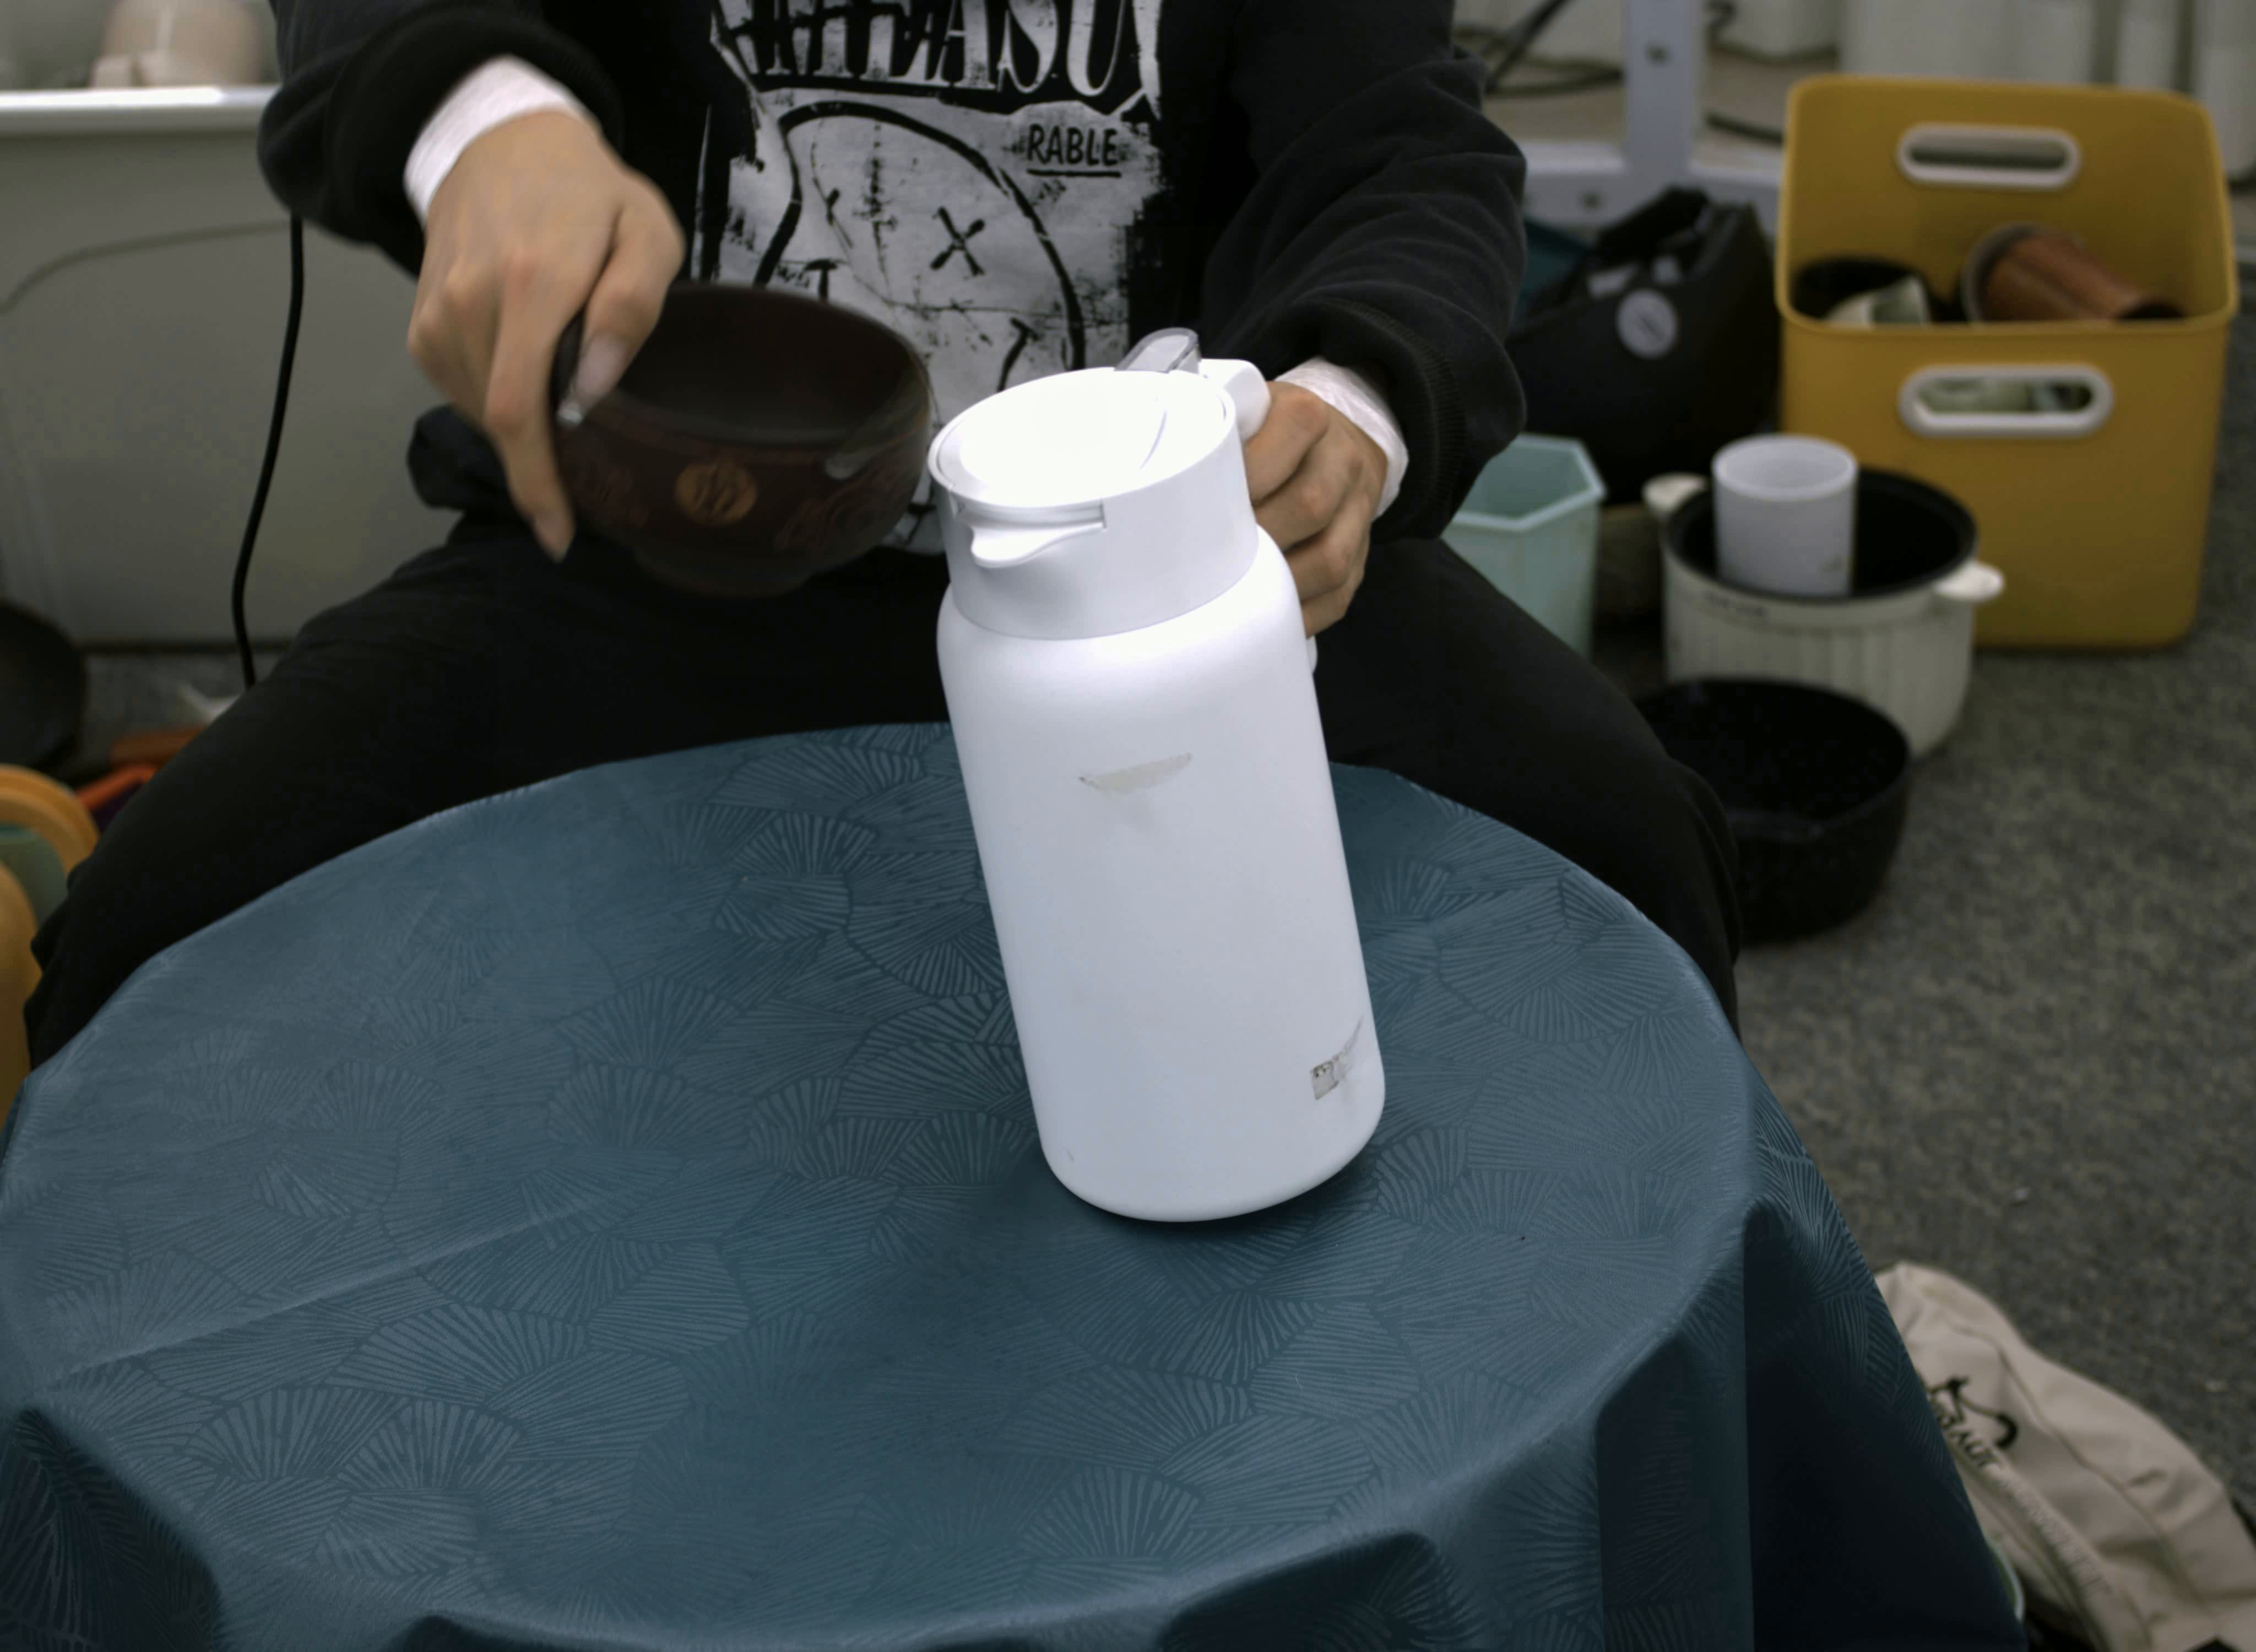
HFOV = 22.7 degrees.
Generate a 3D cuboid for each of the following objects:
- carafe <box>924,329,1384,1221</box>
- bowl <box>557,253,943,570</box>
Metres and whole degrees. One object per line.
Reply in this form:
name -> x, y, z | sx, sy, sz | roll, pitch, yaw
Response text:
carafe -> 0.012, -0.020, 1.833 | 0.123, 0.266, 0.176 | 1, 29, 26
bowl -> -0.119, -0.122, 1.737 | 0.117, 0.069, 0.120 | 9, 26, -4
